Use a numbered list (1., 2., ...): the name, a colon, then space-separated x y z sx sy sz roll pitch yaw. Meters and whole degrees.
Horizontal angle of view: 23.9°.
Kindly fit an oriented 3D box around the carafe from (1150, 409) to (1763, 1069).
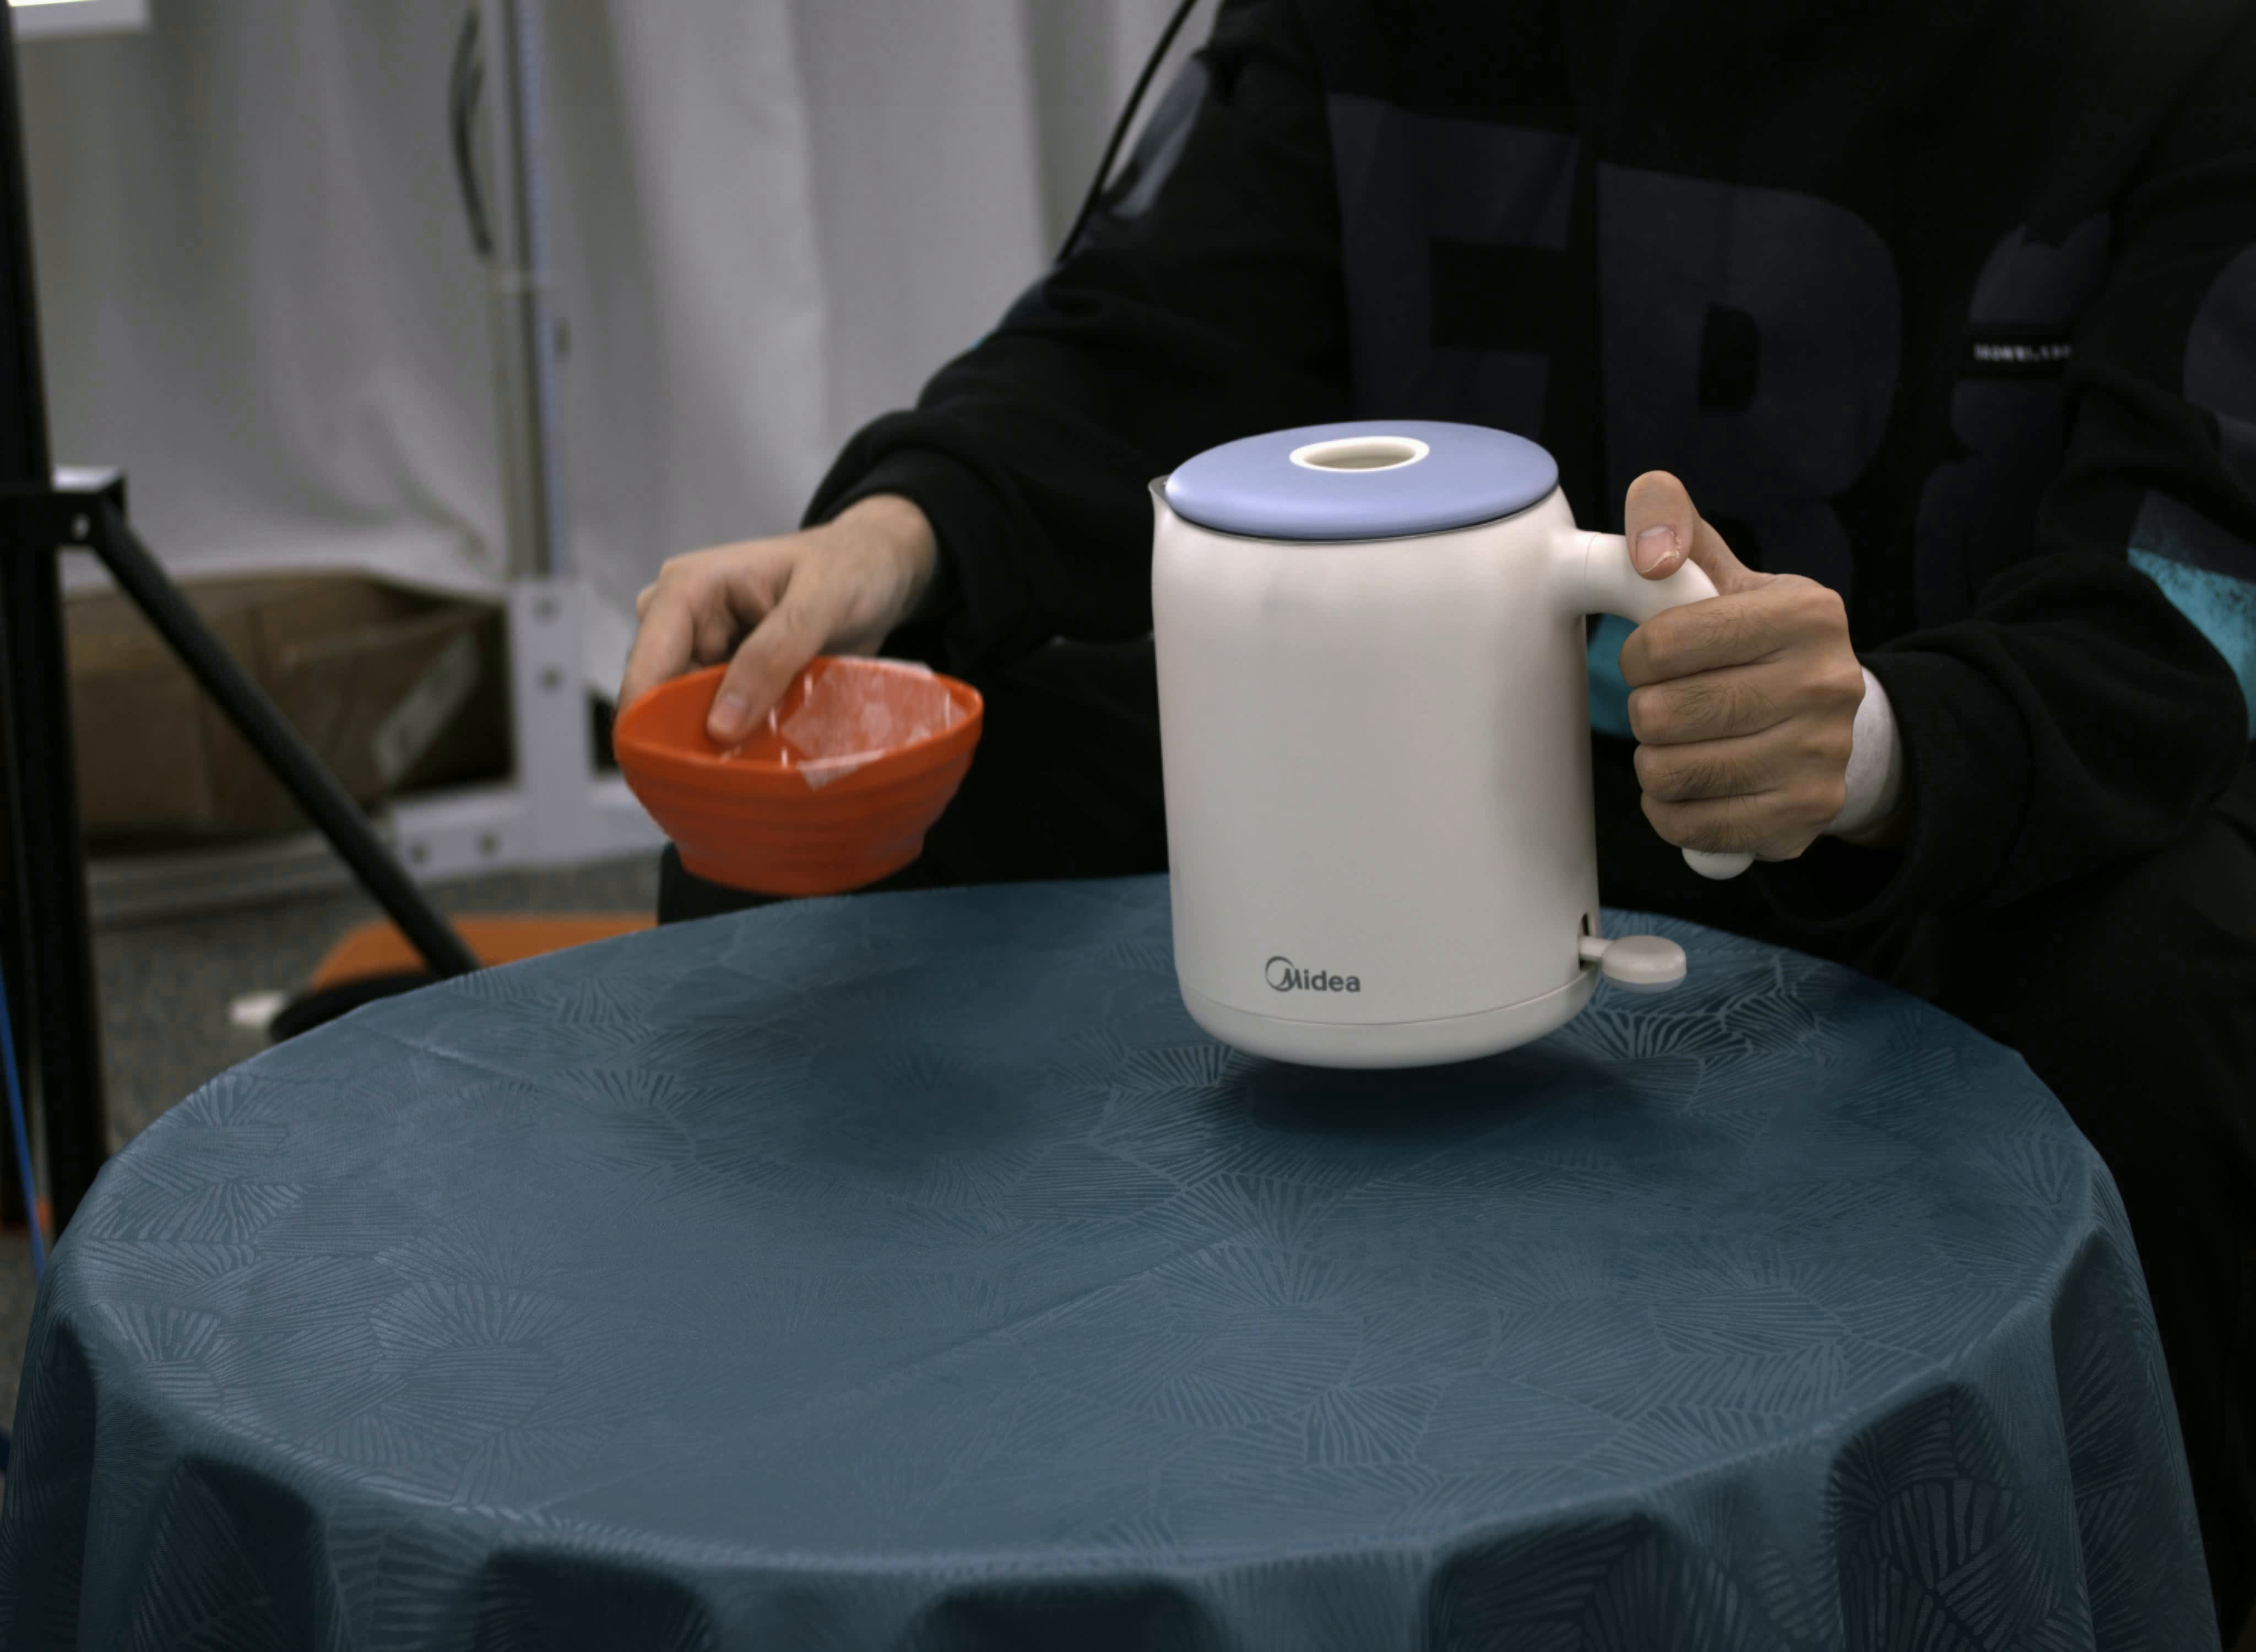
1. carafe: 0.099 -0.025 1.605 0.193 0.182 0.130 6 20 22

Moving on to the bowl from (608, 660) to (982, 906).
1. bowl: -0.103 -0.011 1.686 0.118 0.051 0.119 -5 19 0
